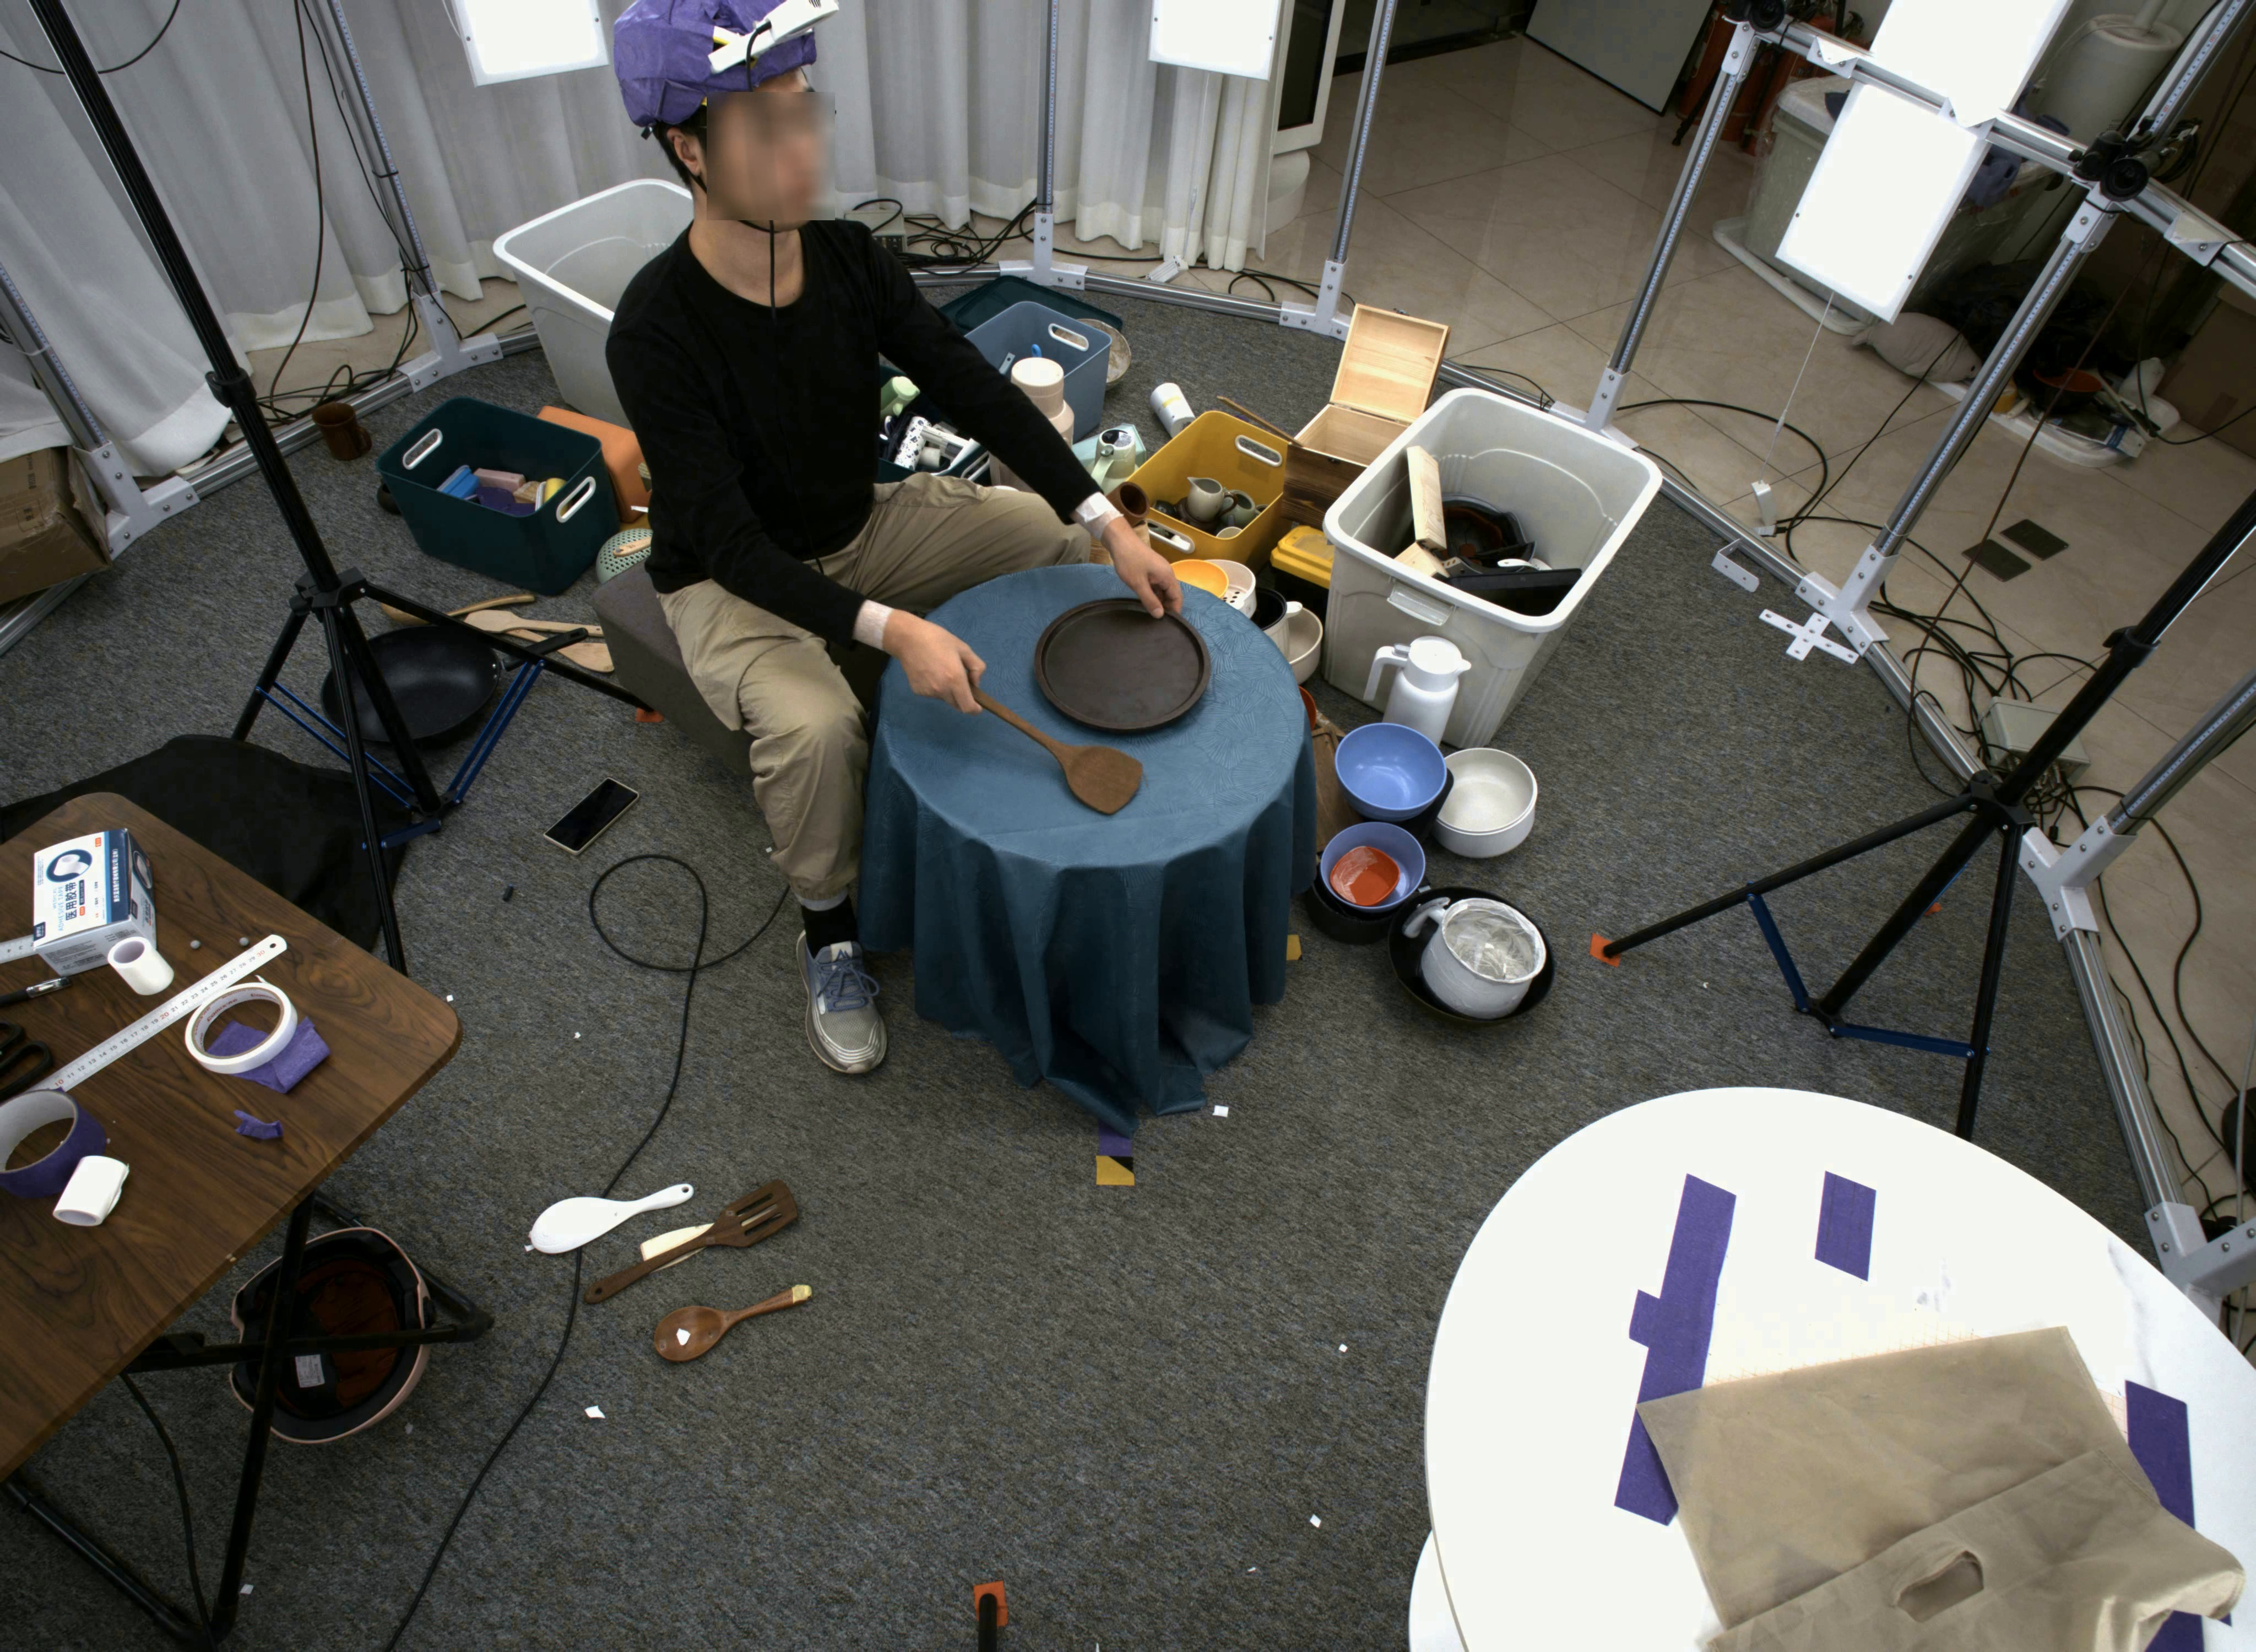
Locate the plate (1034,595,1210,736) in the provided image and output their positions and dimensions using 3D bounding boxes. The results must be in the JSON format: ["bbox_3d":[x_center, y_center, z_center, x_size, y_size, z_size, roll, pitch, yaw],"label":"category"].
[{"bbox_3d":[-0.008,-0.230,1.845,0.254,0.028,0.261,1,54,-2],"label":"plate"}]

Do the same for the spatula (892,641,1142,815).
[{"bbox_3d":[-0.156,-0.142,1.721,0.387,0.015,0.097,33,62,6],"label":"spatula"}]
